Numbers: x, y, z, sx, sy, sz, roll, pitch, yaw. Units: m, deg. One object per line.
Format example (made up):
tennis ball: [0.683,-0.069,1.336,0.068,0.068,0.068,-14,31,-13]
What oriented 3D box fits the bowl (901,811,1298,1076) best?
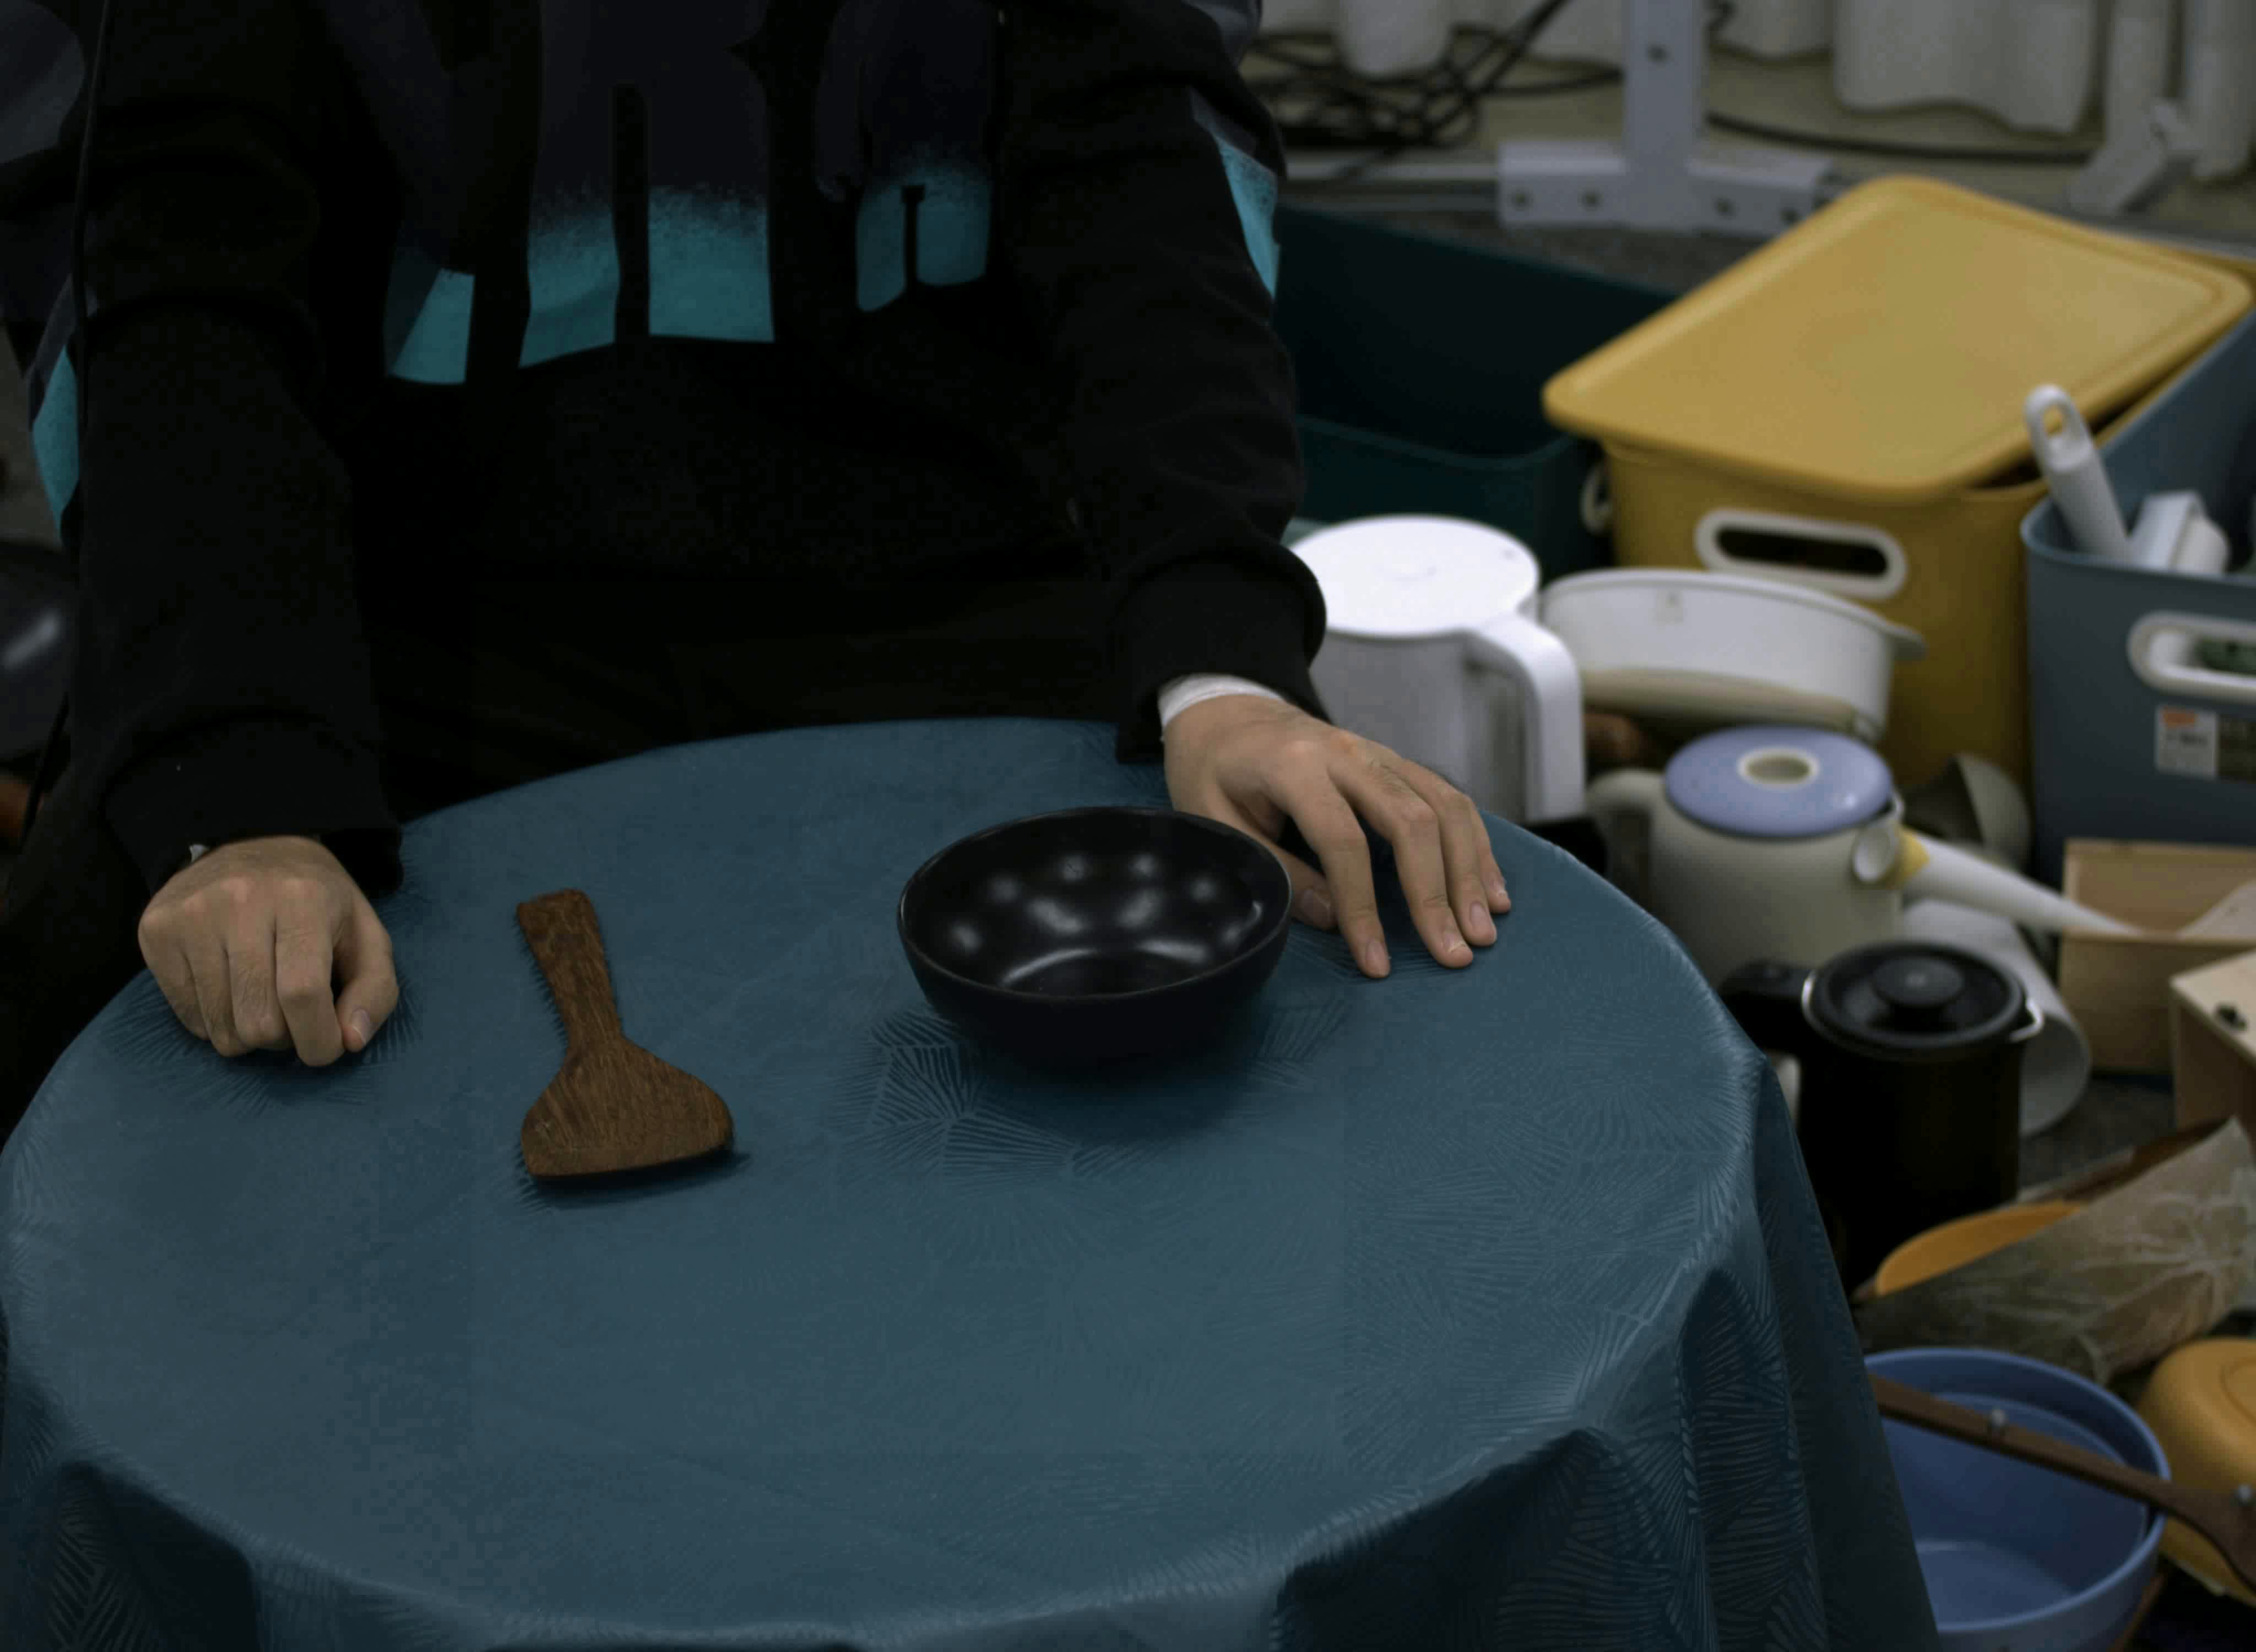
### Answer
bowl: [-0.008,0.048,1.954,0.139,0.049,0.142,-5,27,3]

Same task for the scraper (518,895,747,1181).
scraper: [-0.186,0.073,1.966,0.076,0.011,0.213,-7,27,-11]
